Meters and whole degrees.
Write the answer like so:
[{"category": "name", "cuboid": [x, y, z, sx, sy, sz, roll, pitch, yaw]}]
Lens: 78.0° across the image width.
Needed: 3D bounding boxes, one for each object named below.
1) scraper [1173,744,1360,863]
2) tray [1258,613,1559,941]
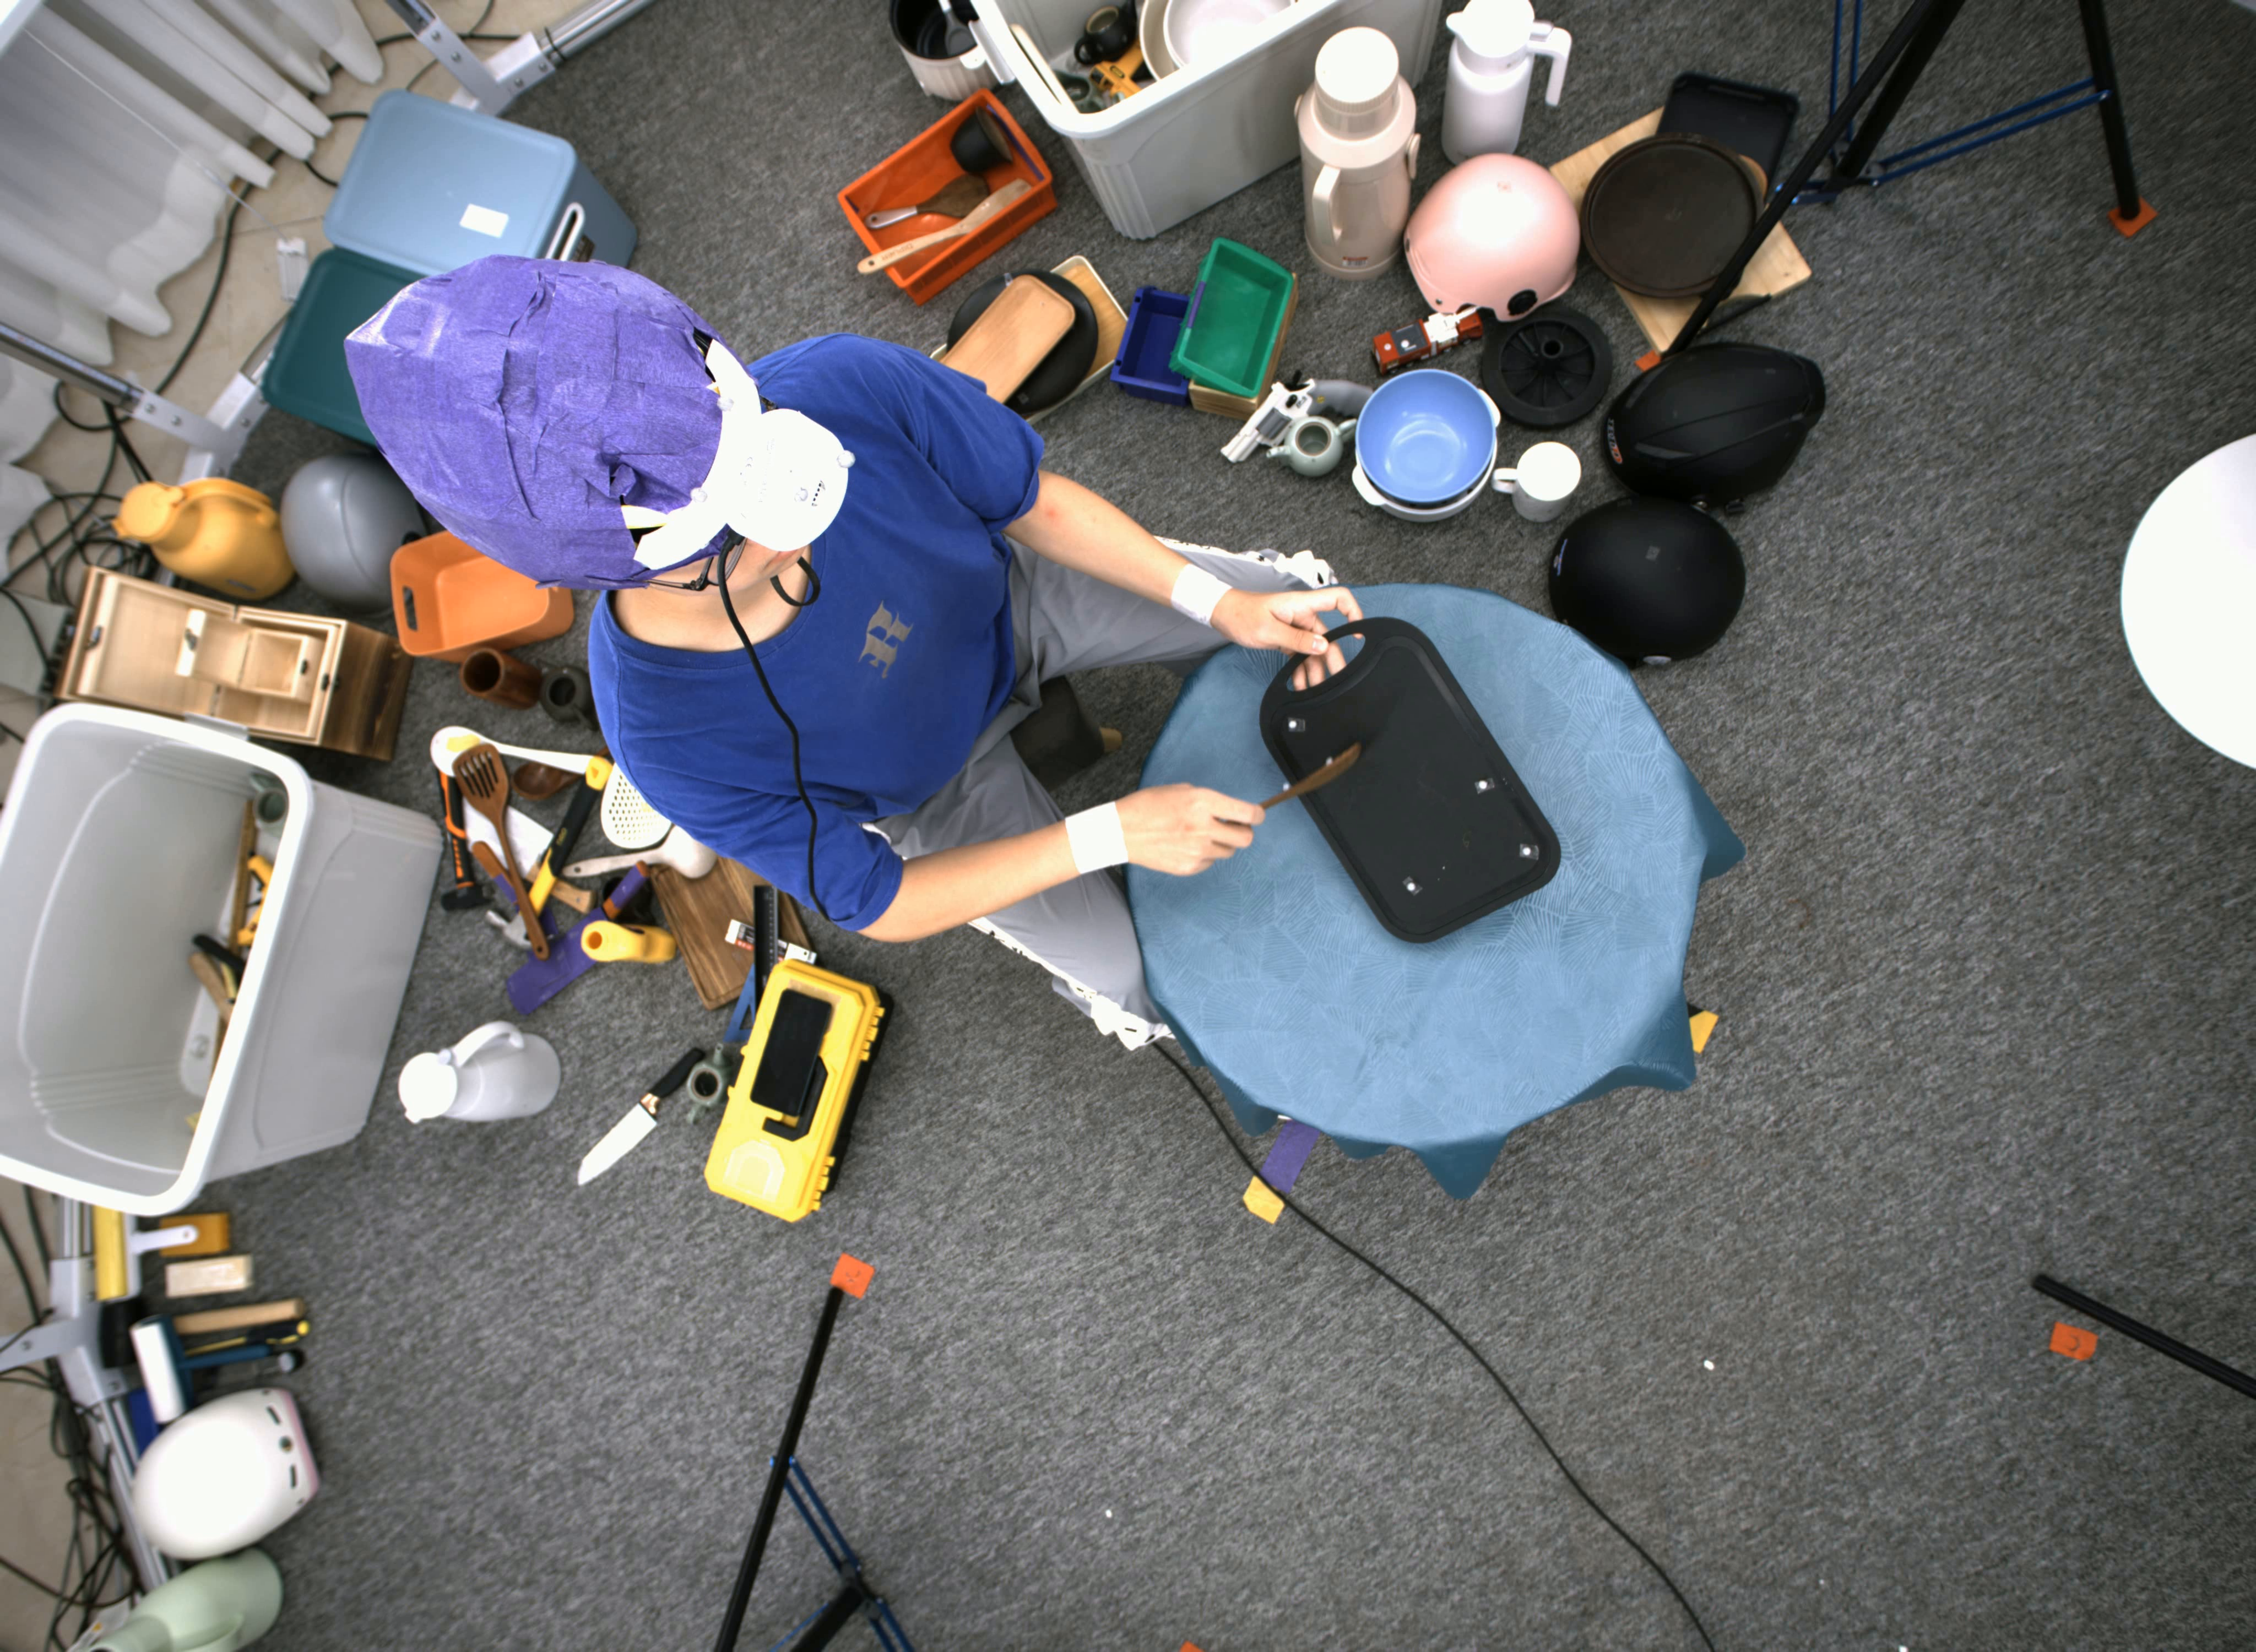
[{"category": "scraper", "cuboid": [0.137, -0.019, 1.353, 0.212, 0.076, 0.011, -30, 75, 4]}, {"category": "tray", "cuboid": [0.267, -0.050, 1.363, 0.215, 0.009, 0.326, -31, 93, 35]}]
